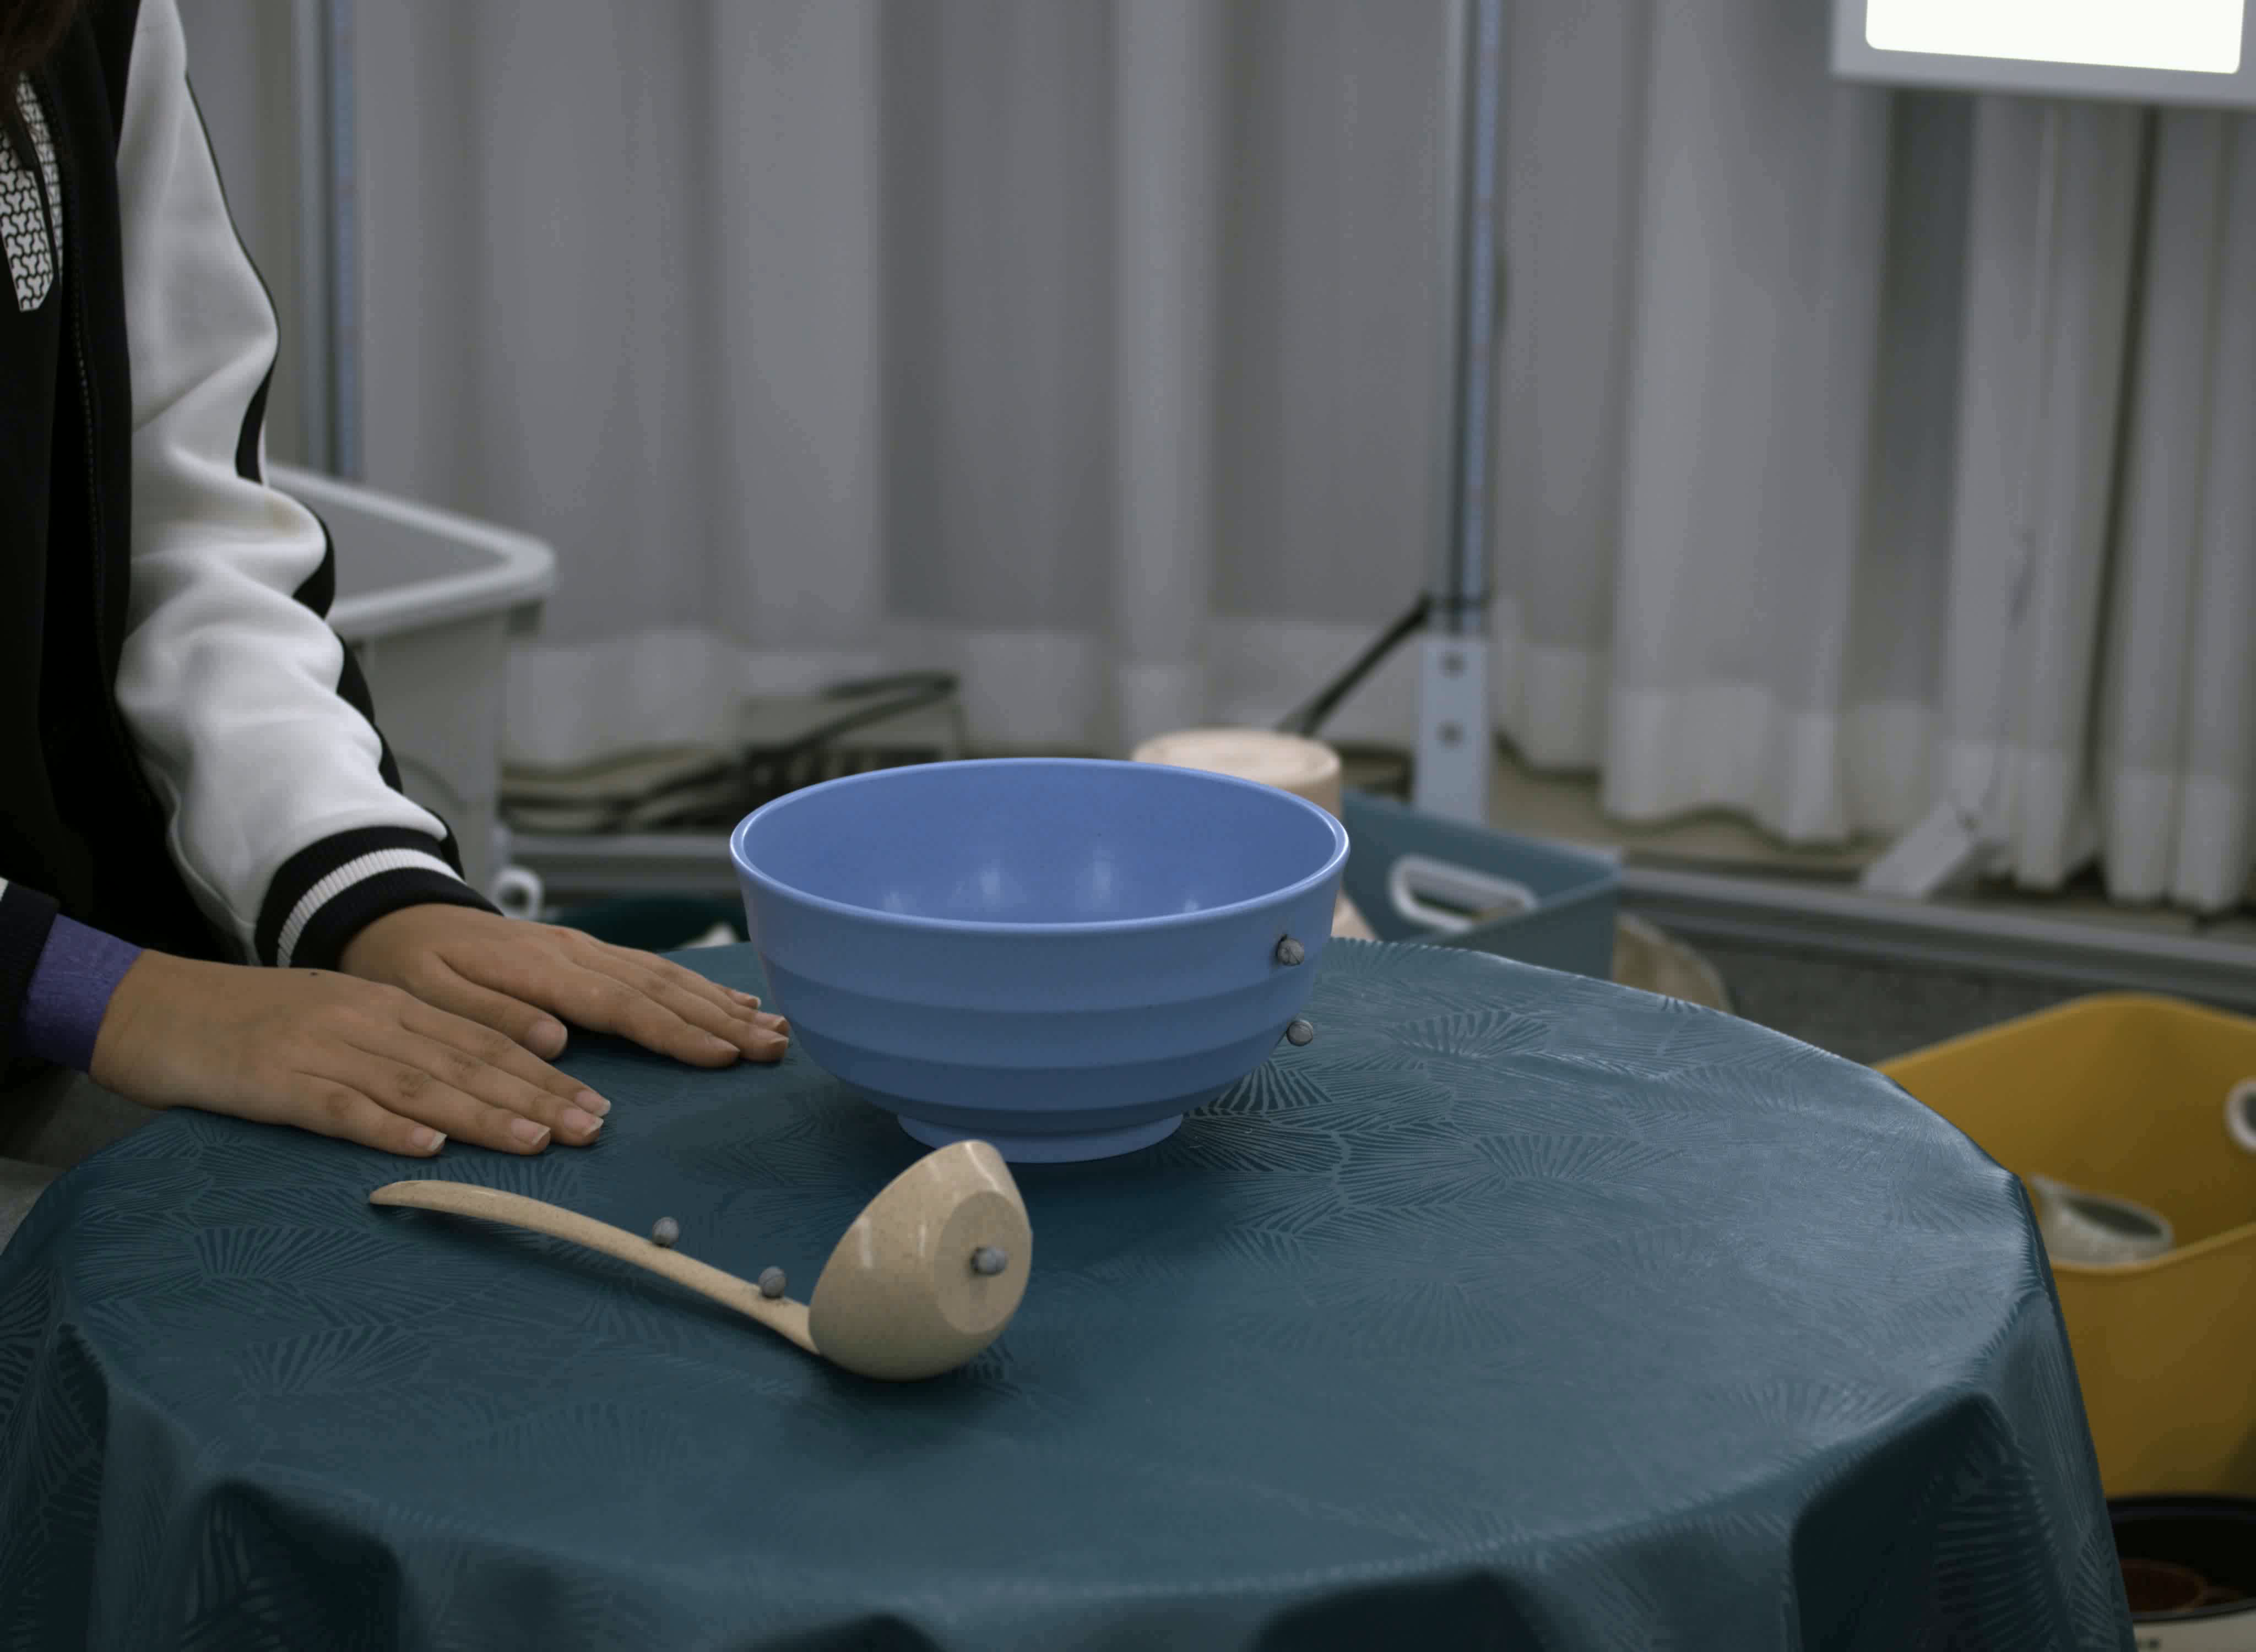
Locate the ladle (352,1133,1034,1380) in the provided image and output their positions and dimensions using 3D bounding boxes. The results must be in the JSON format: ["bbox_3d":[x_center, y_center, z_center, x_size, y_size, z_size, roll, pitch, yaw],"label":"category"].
[{"bbox_3d":[-0.135,0.102,1.518,0.251,0.073,0.072,12,19,37],"label":"ladle"}]

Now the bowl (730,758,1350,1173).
[{"bbox_3d":[-0.027,0.051,1.676,0.196,0.096,0.195,0,17,1],"label":"bowl"}]
